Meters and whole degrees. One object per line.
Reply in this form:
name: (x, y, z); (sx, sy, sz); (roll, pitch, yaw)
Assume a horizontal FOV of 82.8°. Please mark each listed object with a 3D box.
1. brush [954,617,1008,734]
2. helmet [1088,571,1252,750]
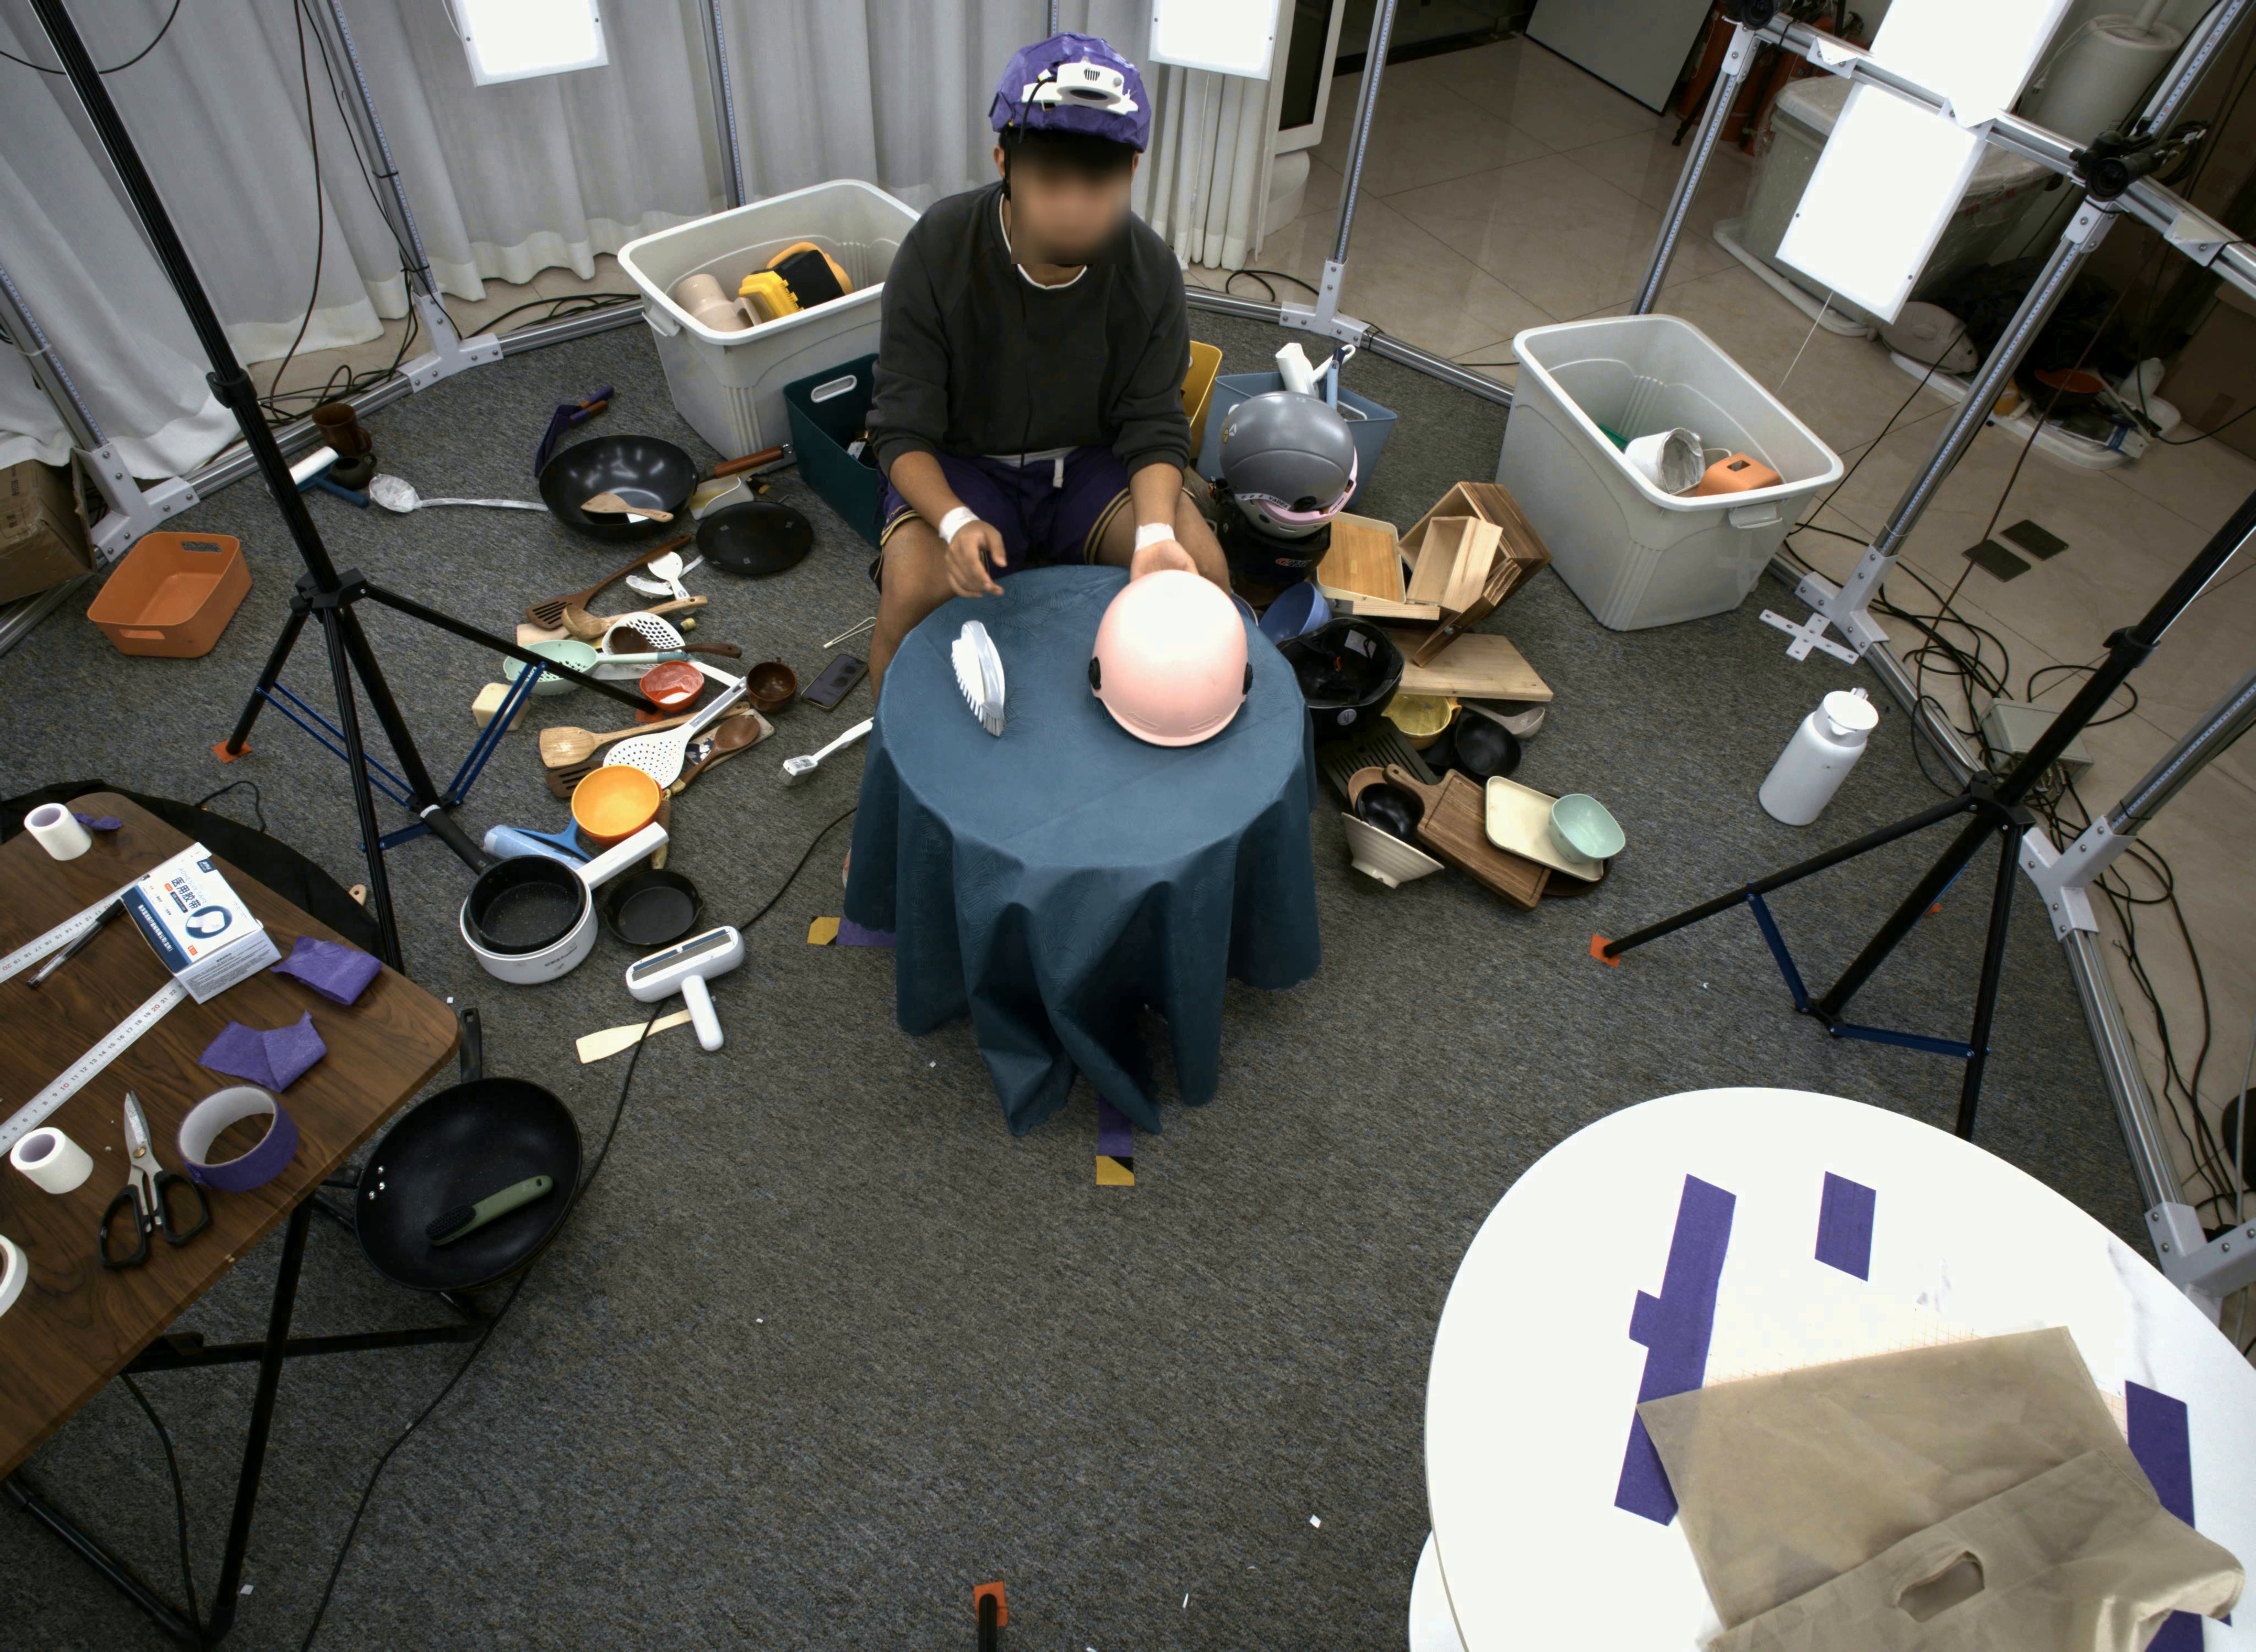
brush: (-0.198, -0.218, 1.783); (0.061, 0.092, 0.180); (-11, 53, -13)
helmet: (0.063, -0.253, 1.793); (0.234, 0.155, 0.272); (1, 53, -4)
